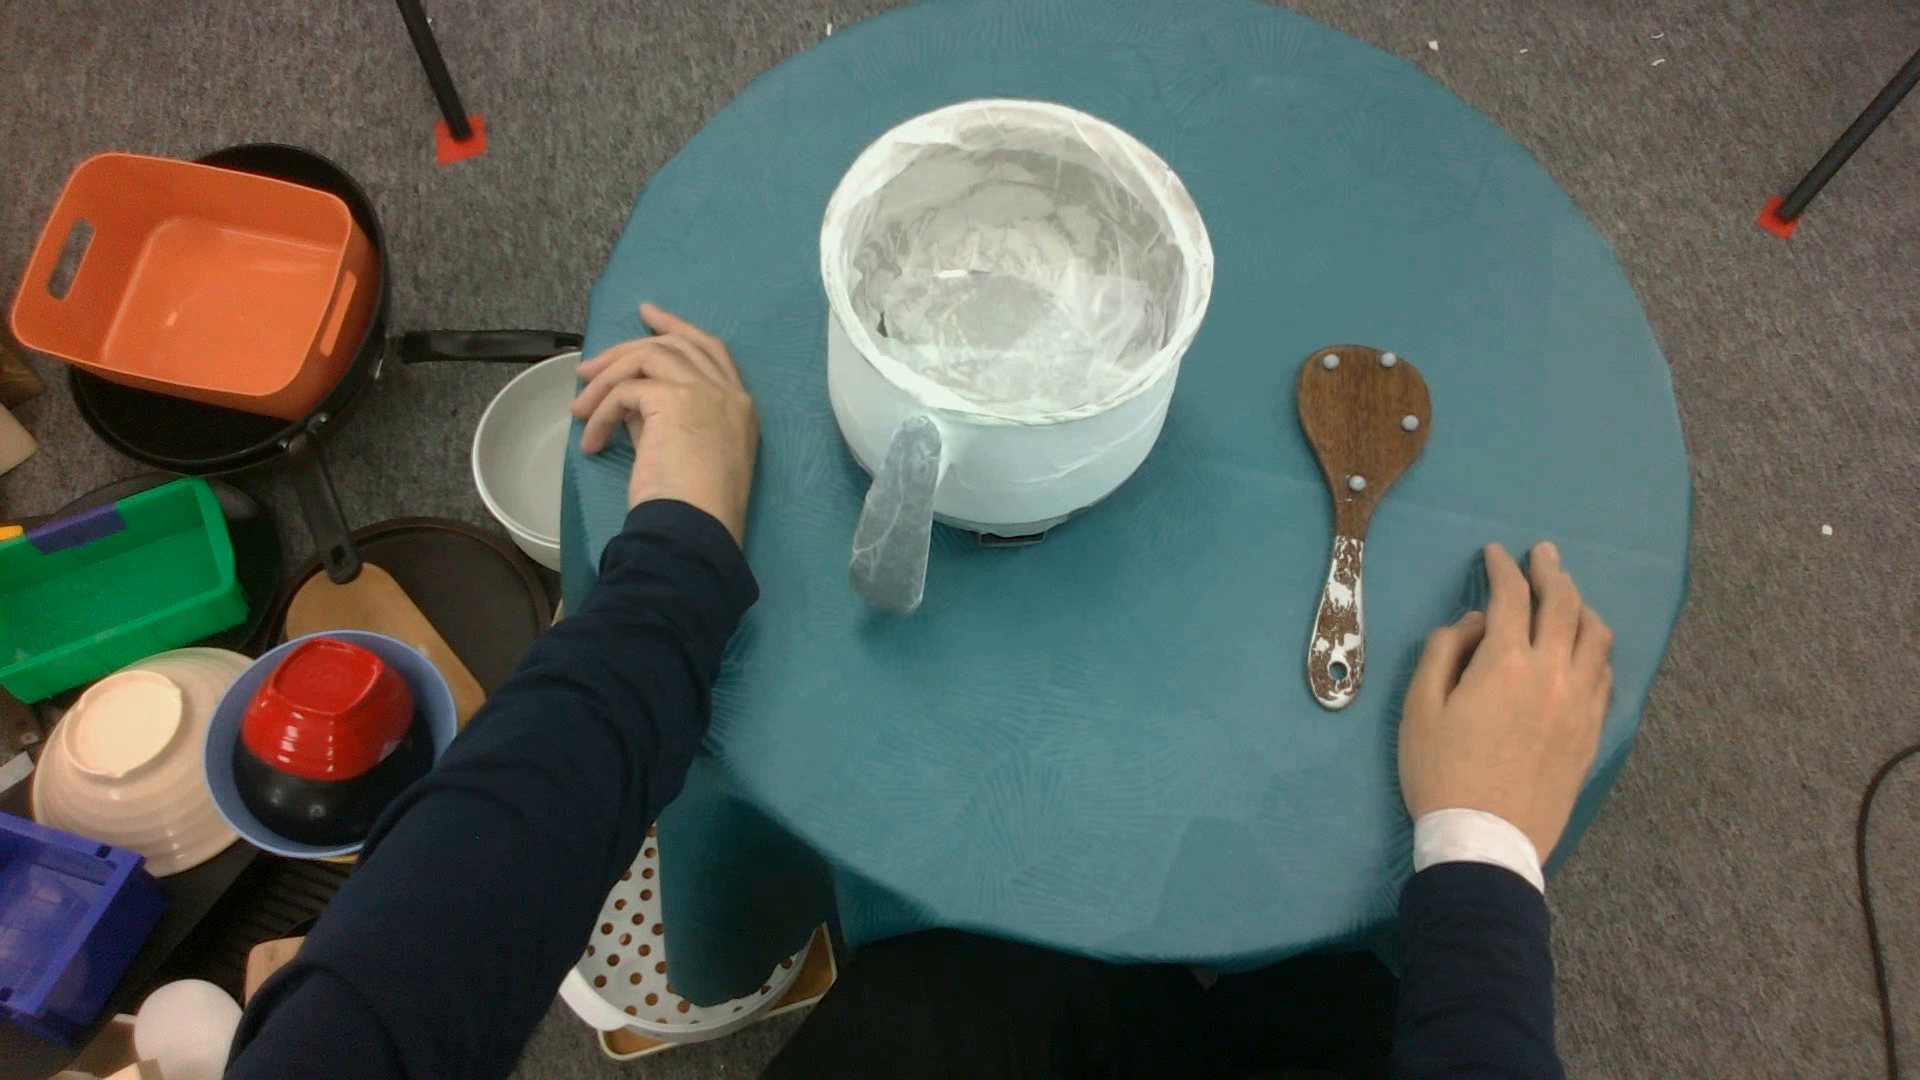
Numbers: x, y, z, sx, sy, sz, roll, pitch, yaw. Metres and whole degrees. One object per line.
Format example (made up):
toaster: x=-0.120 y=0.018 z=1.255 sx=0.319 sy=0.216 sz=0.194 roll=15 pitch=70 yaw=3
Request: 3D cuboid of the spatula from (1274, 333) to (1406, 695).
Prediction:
spatula: x=0.192 y=-0.020 z=0.720 sx=0.072 sy=0.009 sz=0.216 roll=12 pitch=65 yaw=3

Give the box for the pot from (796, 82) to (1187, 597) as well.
pot: x=0.001 y=-0.089 z=0.662 sx=0.178 sy=0.136 sz=0.234 roll=21 pitch=64 yaw=8
